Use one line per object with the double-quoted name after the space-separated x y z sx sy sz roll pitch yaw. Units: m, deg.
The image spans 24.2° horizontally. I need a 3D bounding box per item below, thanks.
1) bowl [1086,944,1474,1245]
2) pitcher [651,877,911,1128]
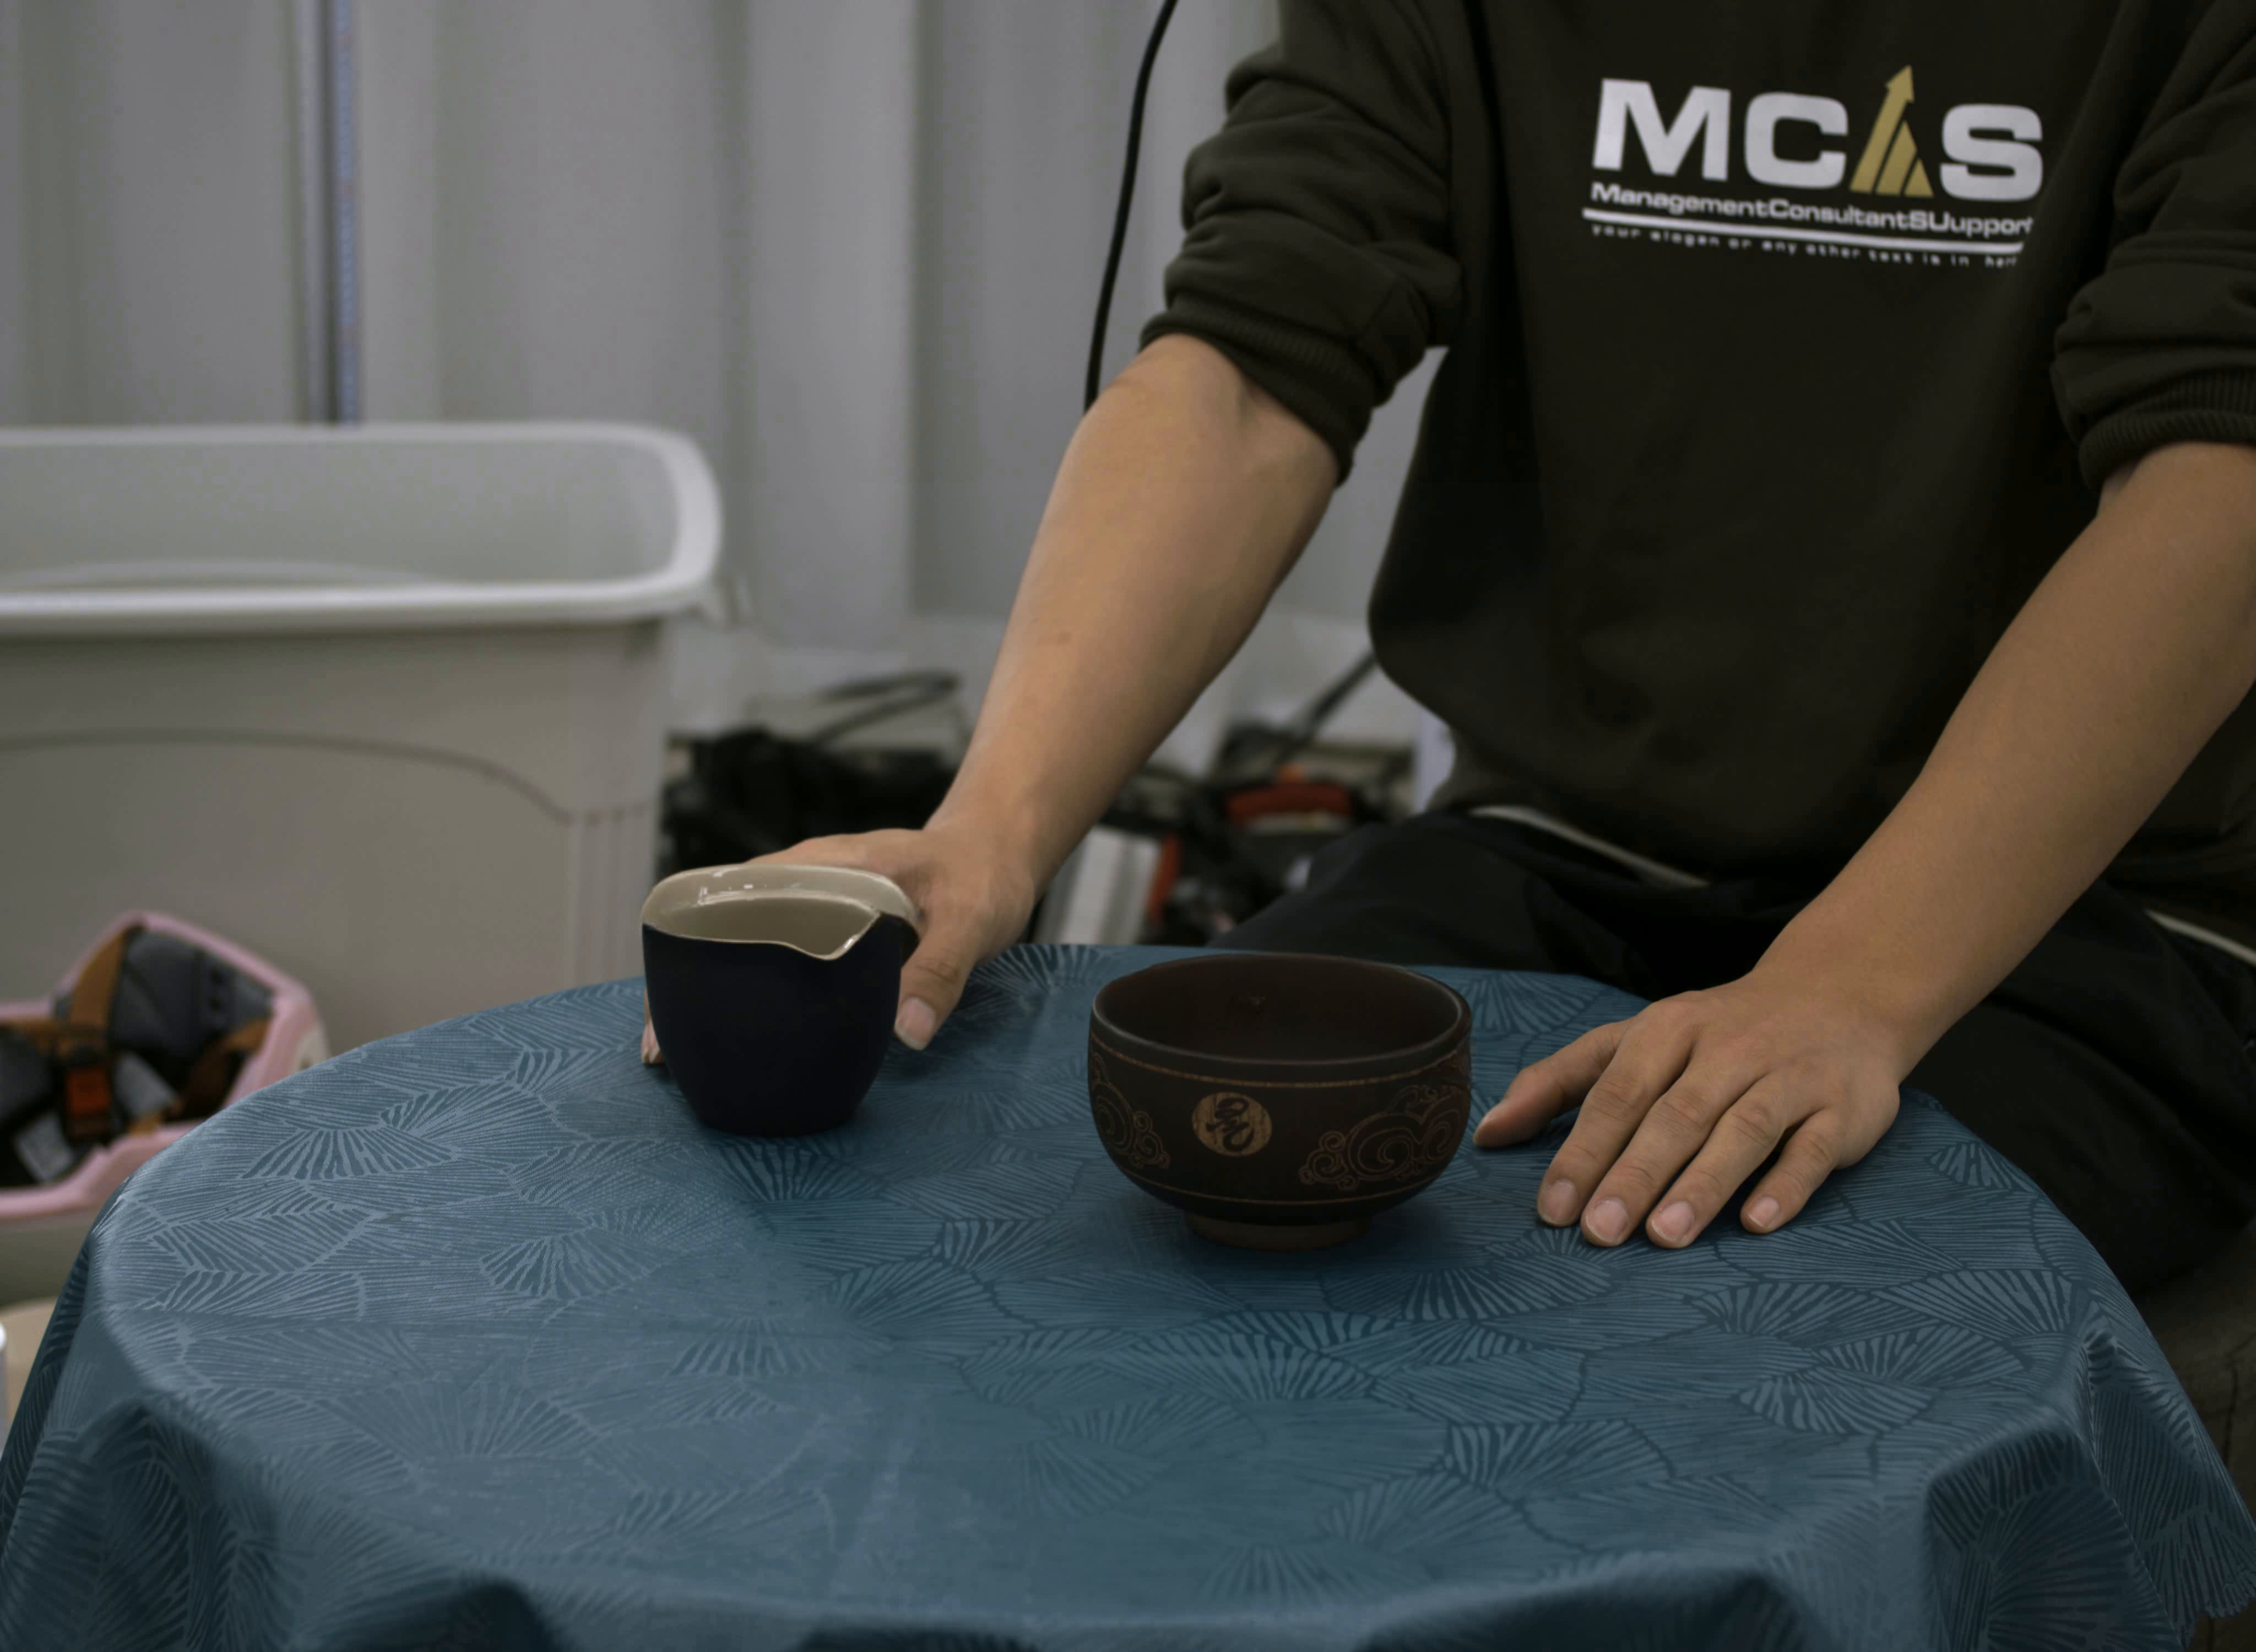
0.046 0.085 1.597 0.117 0.070 0.117 -1 17 1 "bowl"
-0.110 0.057 1.684 0.084 0.072 0.095 -2 15 -17 "pitcher"
